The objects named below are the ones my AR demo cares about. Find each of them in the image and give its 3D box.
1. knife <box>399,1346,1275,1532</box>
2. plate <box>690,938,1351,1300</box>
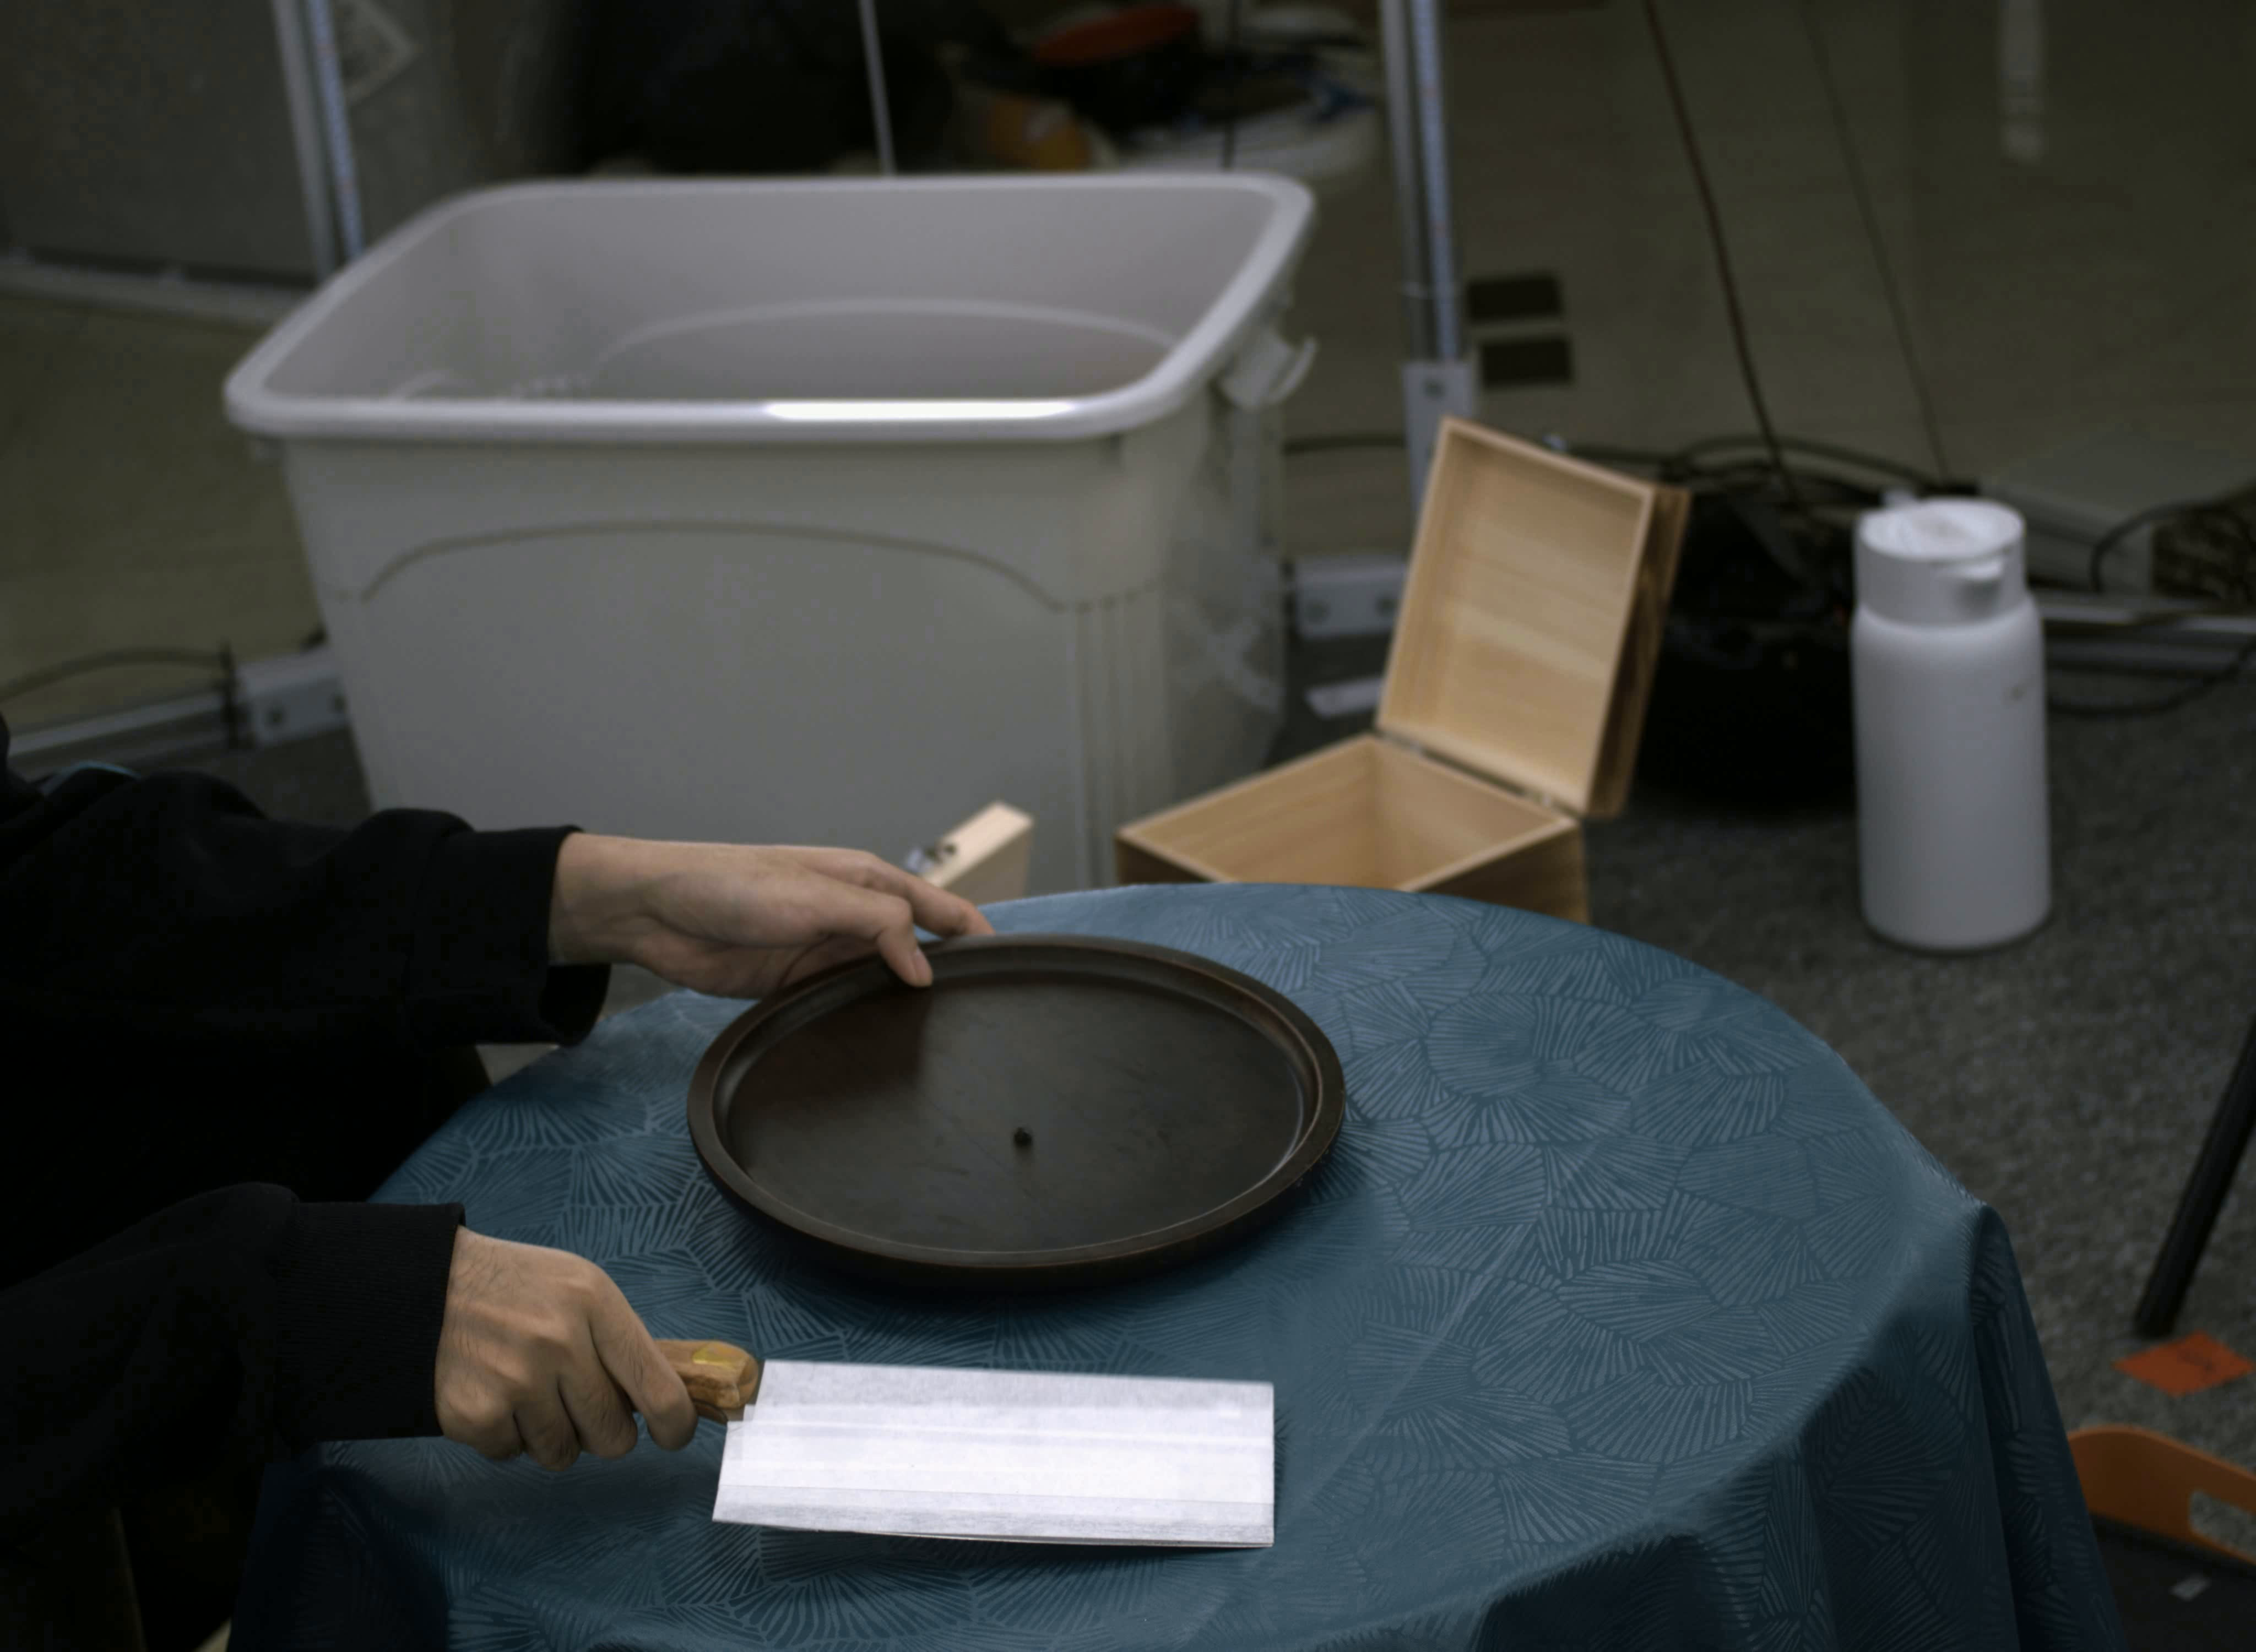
[{"bbox_3d":[-0.102,0.213,1.952,0.305,0.021,0.091,3,30,0],"label":"knife"},{"bbox_3d":[-0.041,0.110,2.167,0.254,0.029,0.250,0,29,0],"label":"plate"}]
